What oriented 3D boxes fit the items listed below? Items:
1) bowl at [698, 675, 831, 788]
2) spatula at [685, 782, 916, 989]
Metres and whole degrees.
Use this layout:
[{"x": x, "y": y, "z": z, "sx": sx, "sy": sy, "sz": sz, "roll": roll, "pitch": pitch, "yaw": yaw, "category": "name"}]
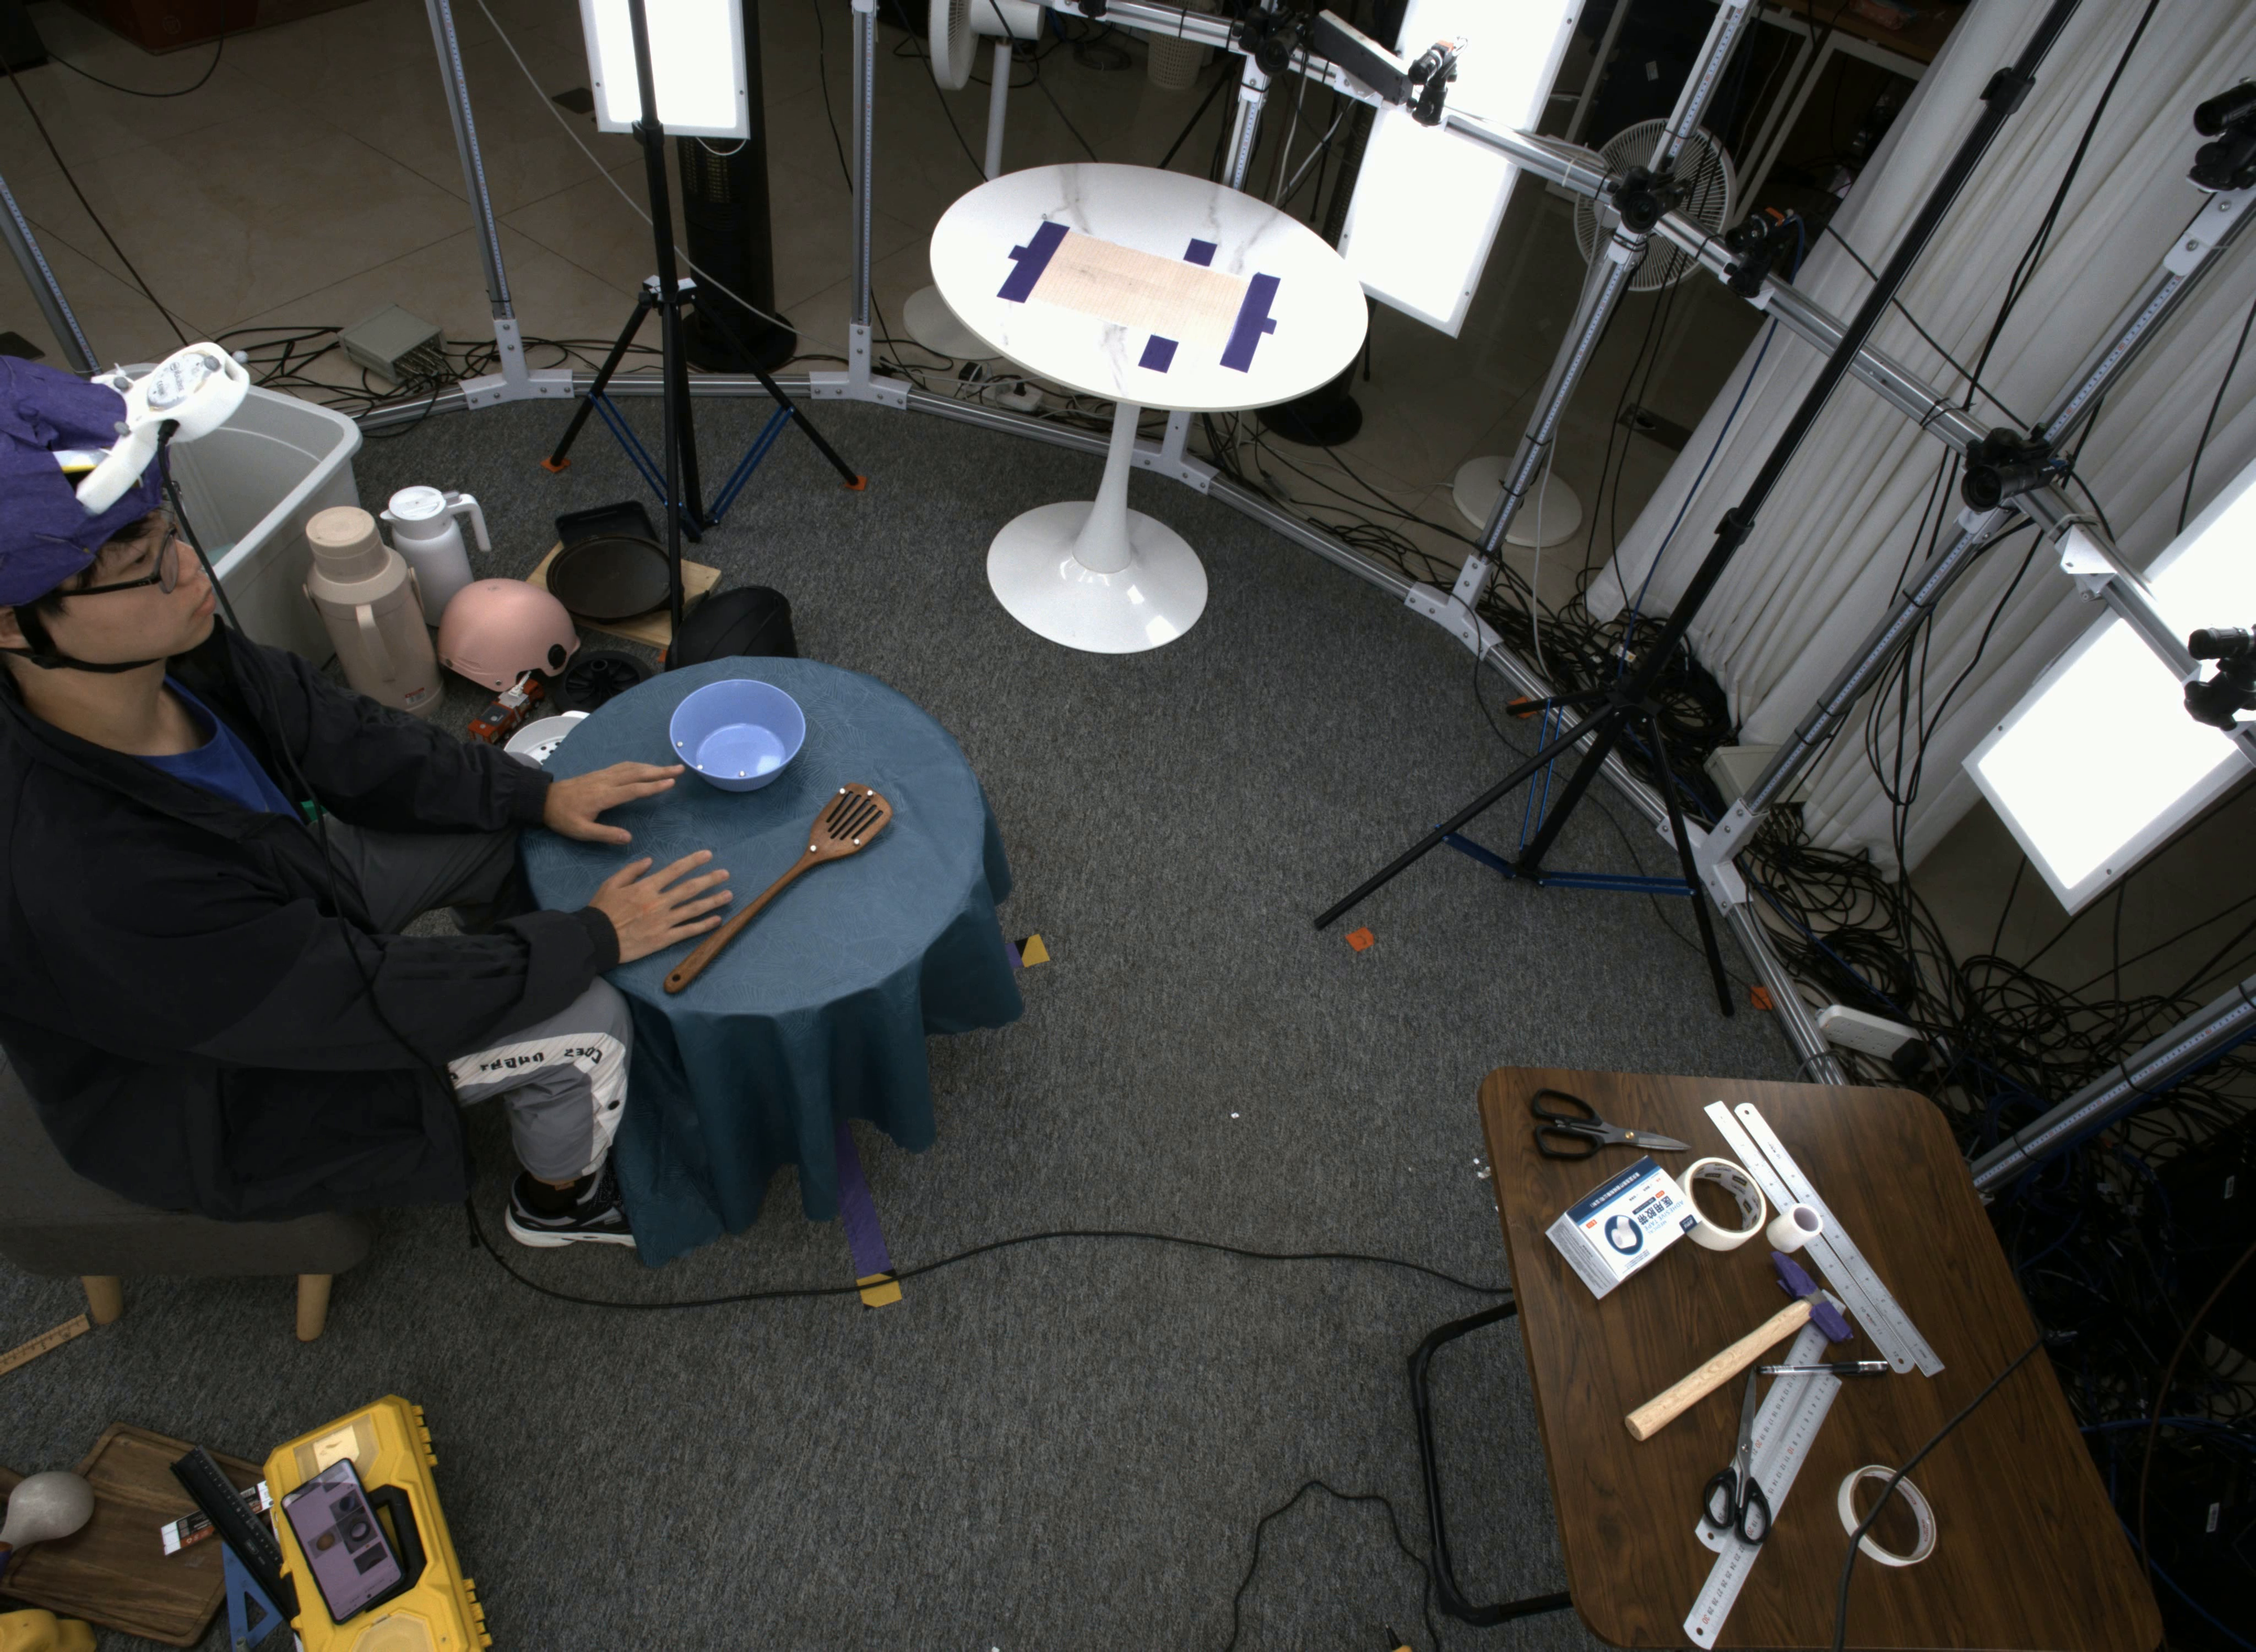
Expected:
[{"x": -0.492, "y": -0.118, "z": 1.759, "sx": 0.175, "sy": 0.072, "sz": 0.173, "roll": 7, "pitch": 53, "yaw": -7, "category": "bowl"}, {"x": -0.422, "y": 0.076, "z": 1.666, "sx": 0.084, "sy": 0.024, "sz": 0.386, "roll": 35, "pitch": 55, "yaw": 13, "category": "spatula"}]
